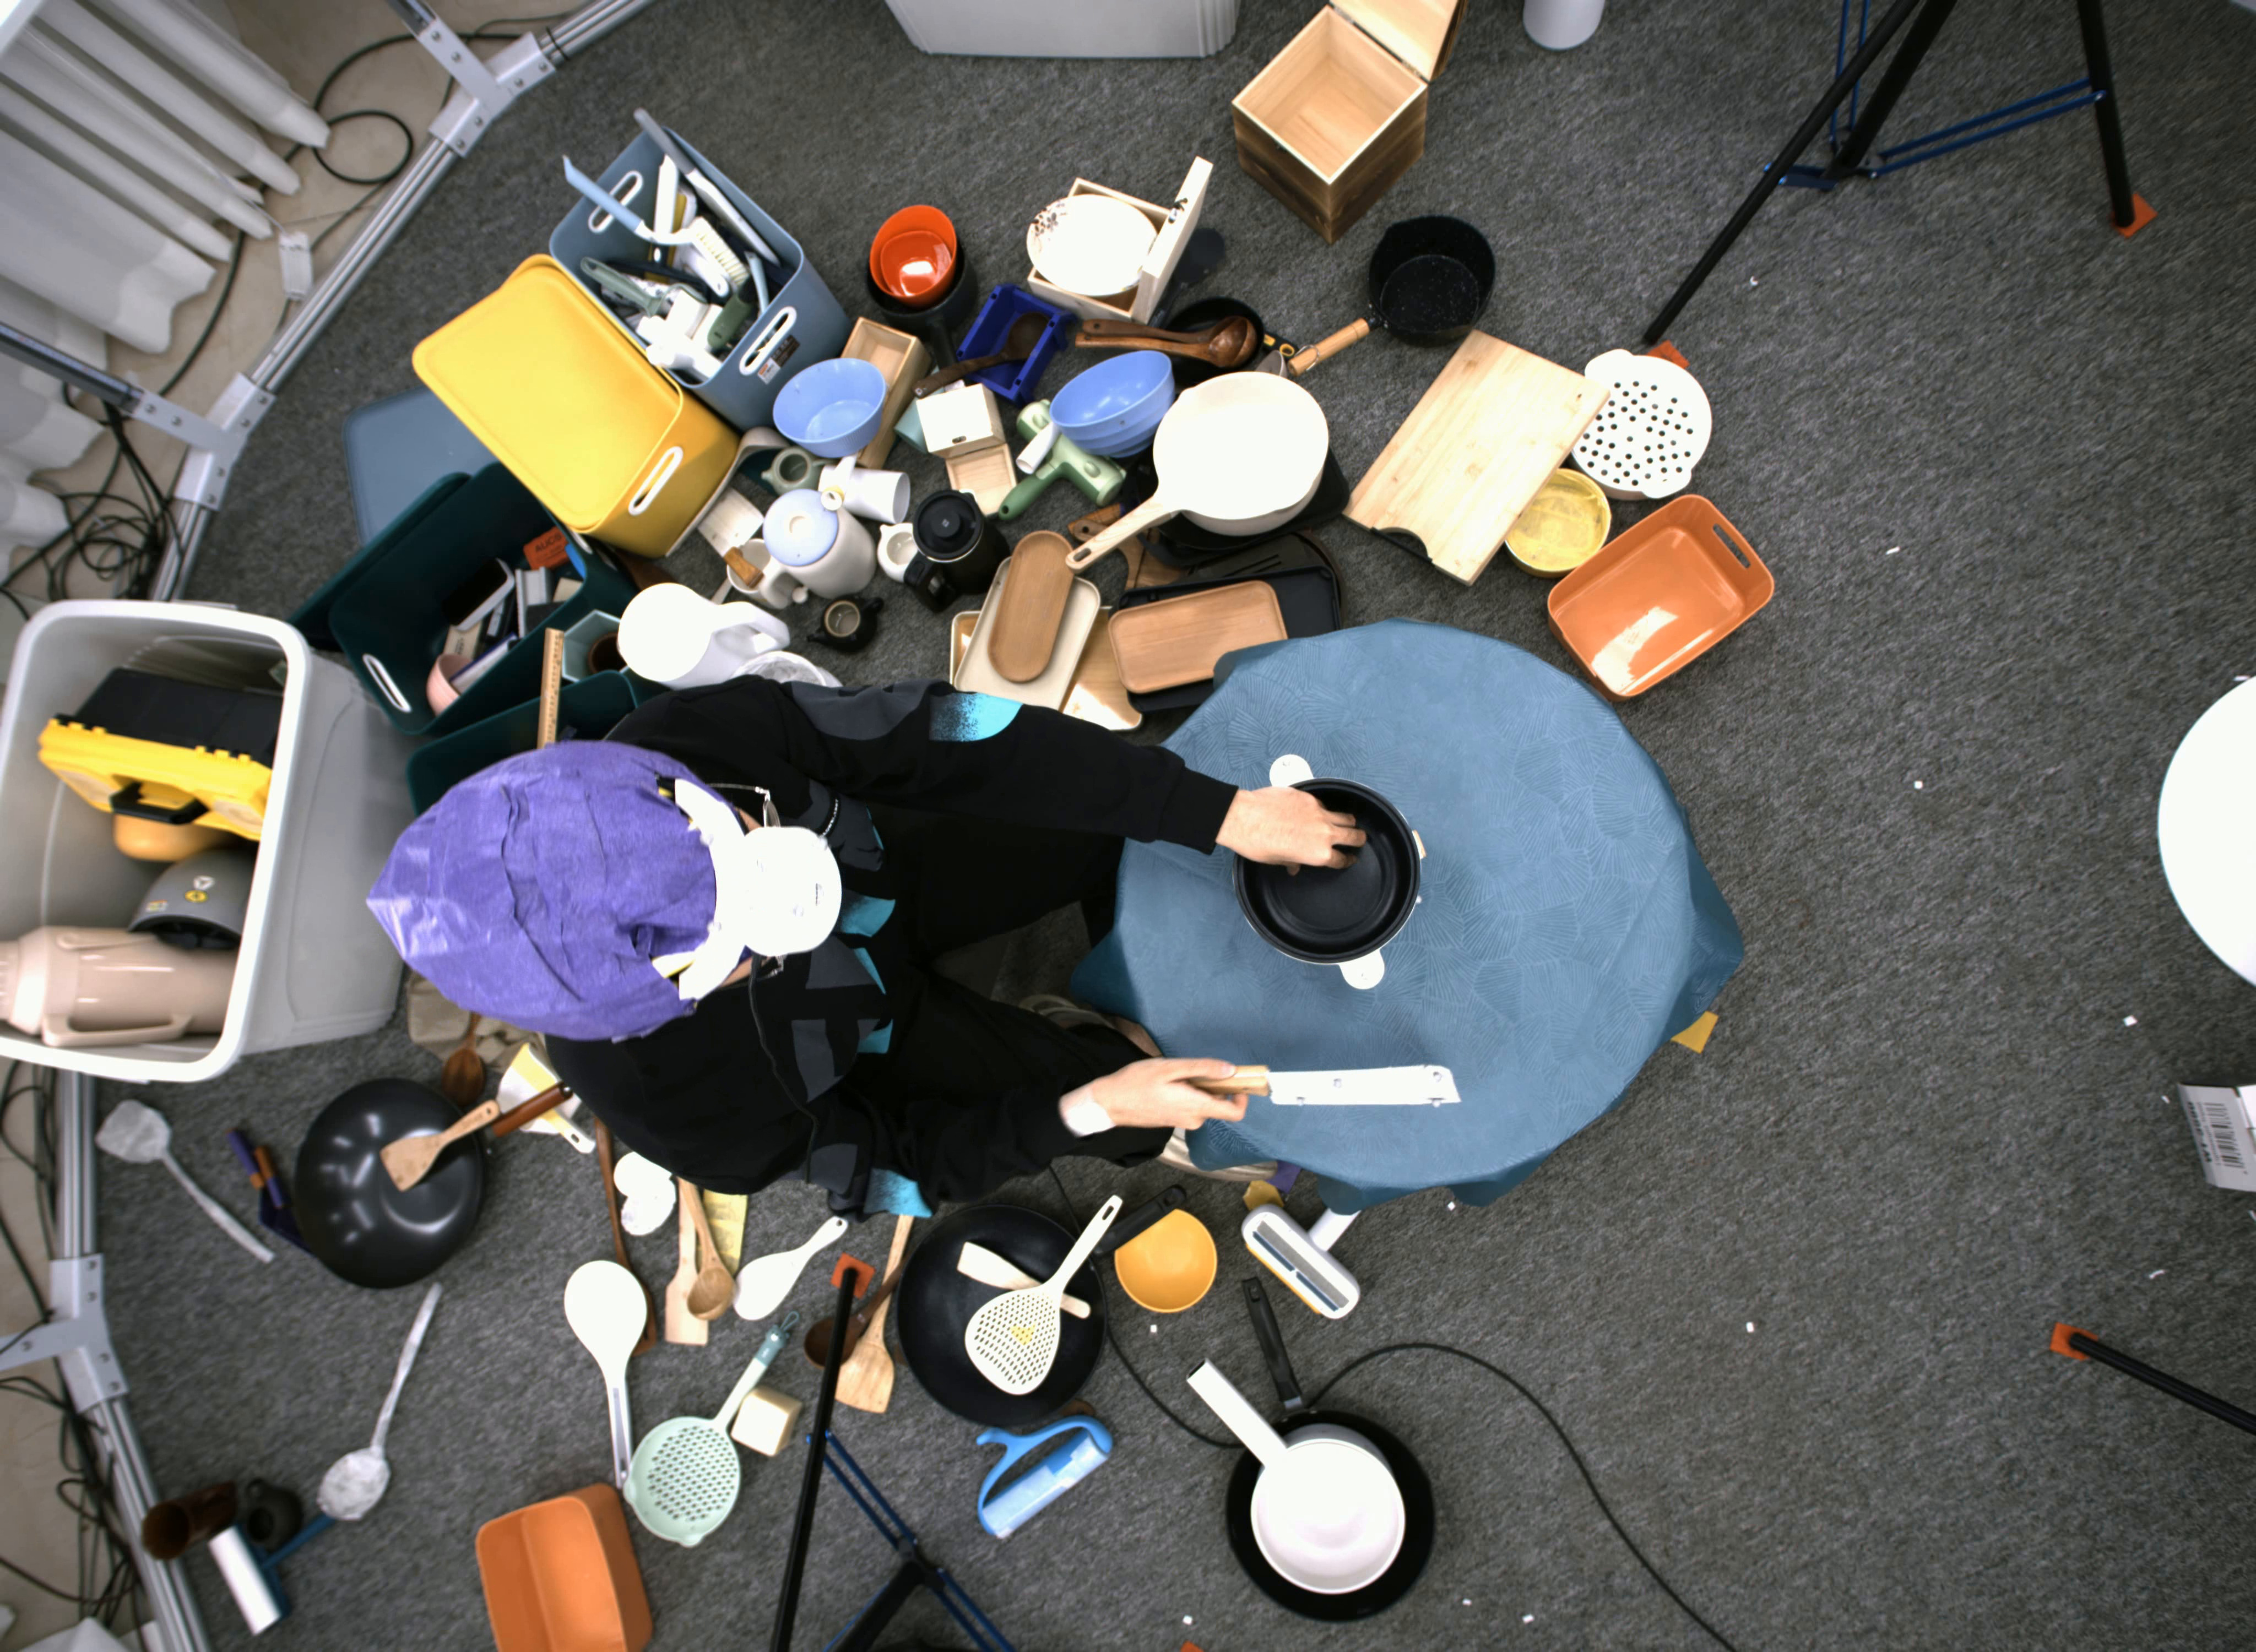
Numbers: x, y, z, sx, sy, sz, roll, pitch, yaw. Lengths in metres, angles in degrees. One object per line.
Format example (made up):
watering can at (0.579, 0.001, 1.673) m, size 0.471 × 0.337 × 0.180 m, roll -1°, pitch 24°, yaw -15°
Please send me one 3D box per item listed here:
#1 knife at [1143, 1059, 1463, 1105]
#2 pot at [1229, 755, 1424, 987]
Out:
knife at (0.171, 0.253, 1.371) m, size 0.317 × 0.116 × 0.021 m, roll -2°, pitch 57°, yaw 12°
pot at (0.206, 0.045, 1.403) m, size 0.192 × 0.142 × 0.239 m, roll -22°, pitch 84°, yaw 11°
